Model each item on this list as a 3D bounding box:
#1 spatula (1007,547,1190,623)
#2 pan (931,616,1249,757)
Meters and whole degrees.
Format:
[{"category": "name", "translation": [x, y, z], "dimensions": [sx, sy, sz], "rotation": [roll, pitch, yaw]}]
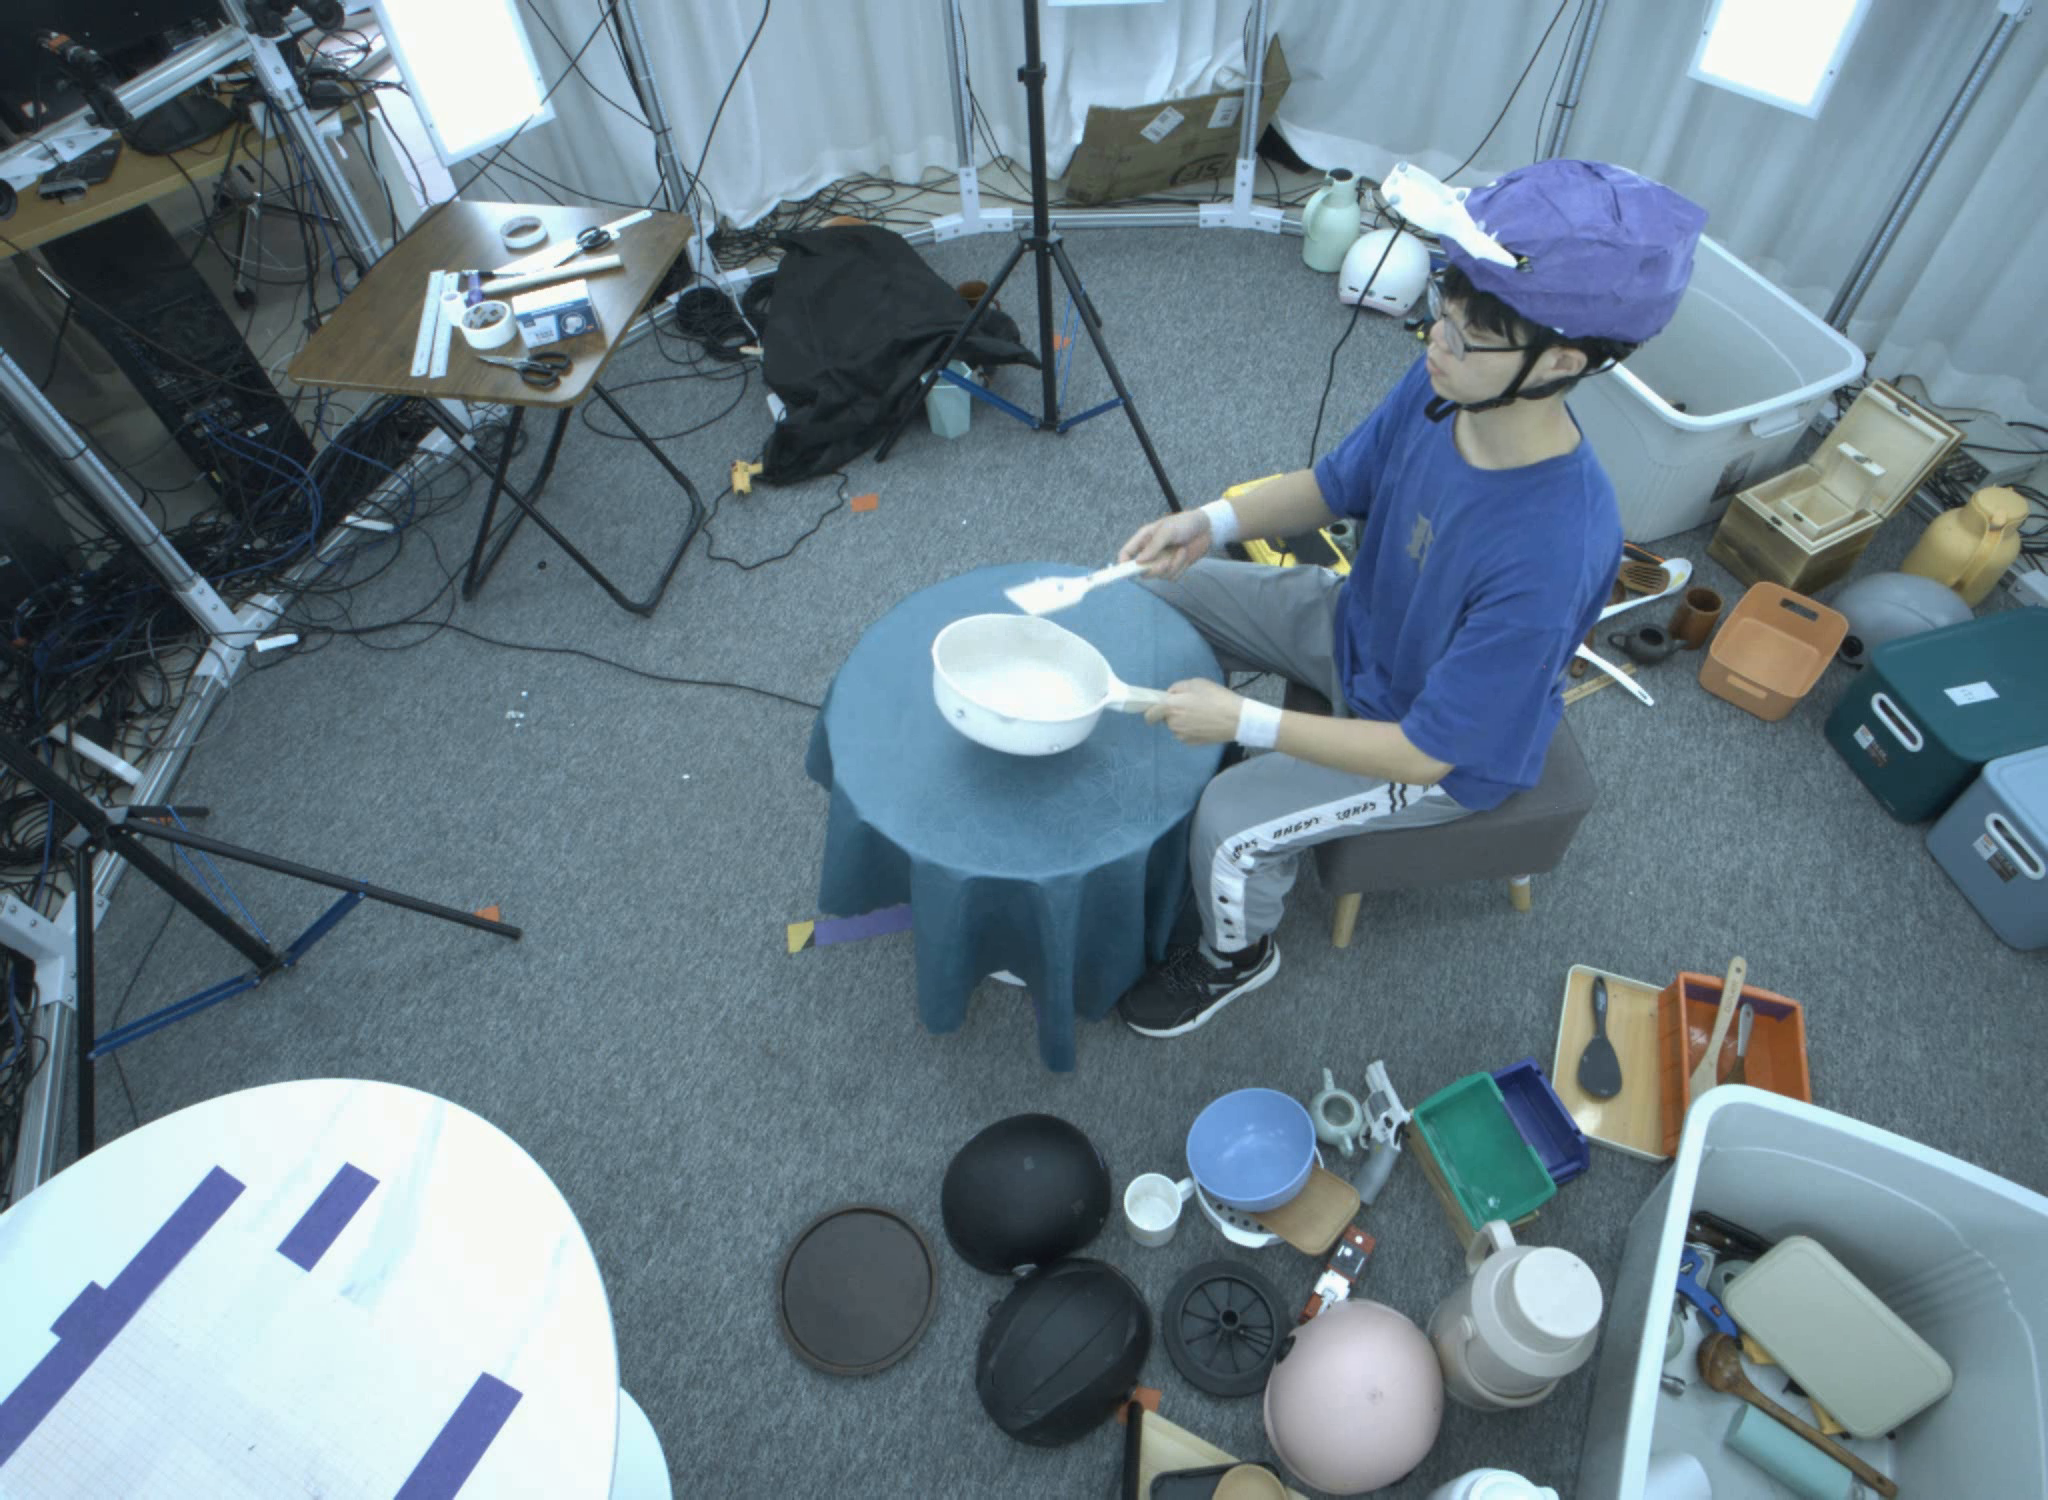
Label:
[{"category": "spatula", "translation": [0.112, -0.233, 1.684], "dimensions": [0.297, 0.011, 0.070], "rotation": [-24, 48, -29]}, {"category": "pan", "translation": [0.082, -0.065, 1.673], "dimensions": [0.436, 0.102, 0.262], "rotation": [15, 35, -2]}]
